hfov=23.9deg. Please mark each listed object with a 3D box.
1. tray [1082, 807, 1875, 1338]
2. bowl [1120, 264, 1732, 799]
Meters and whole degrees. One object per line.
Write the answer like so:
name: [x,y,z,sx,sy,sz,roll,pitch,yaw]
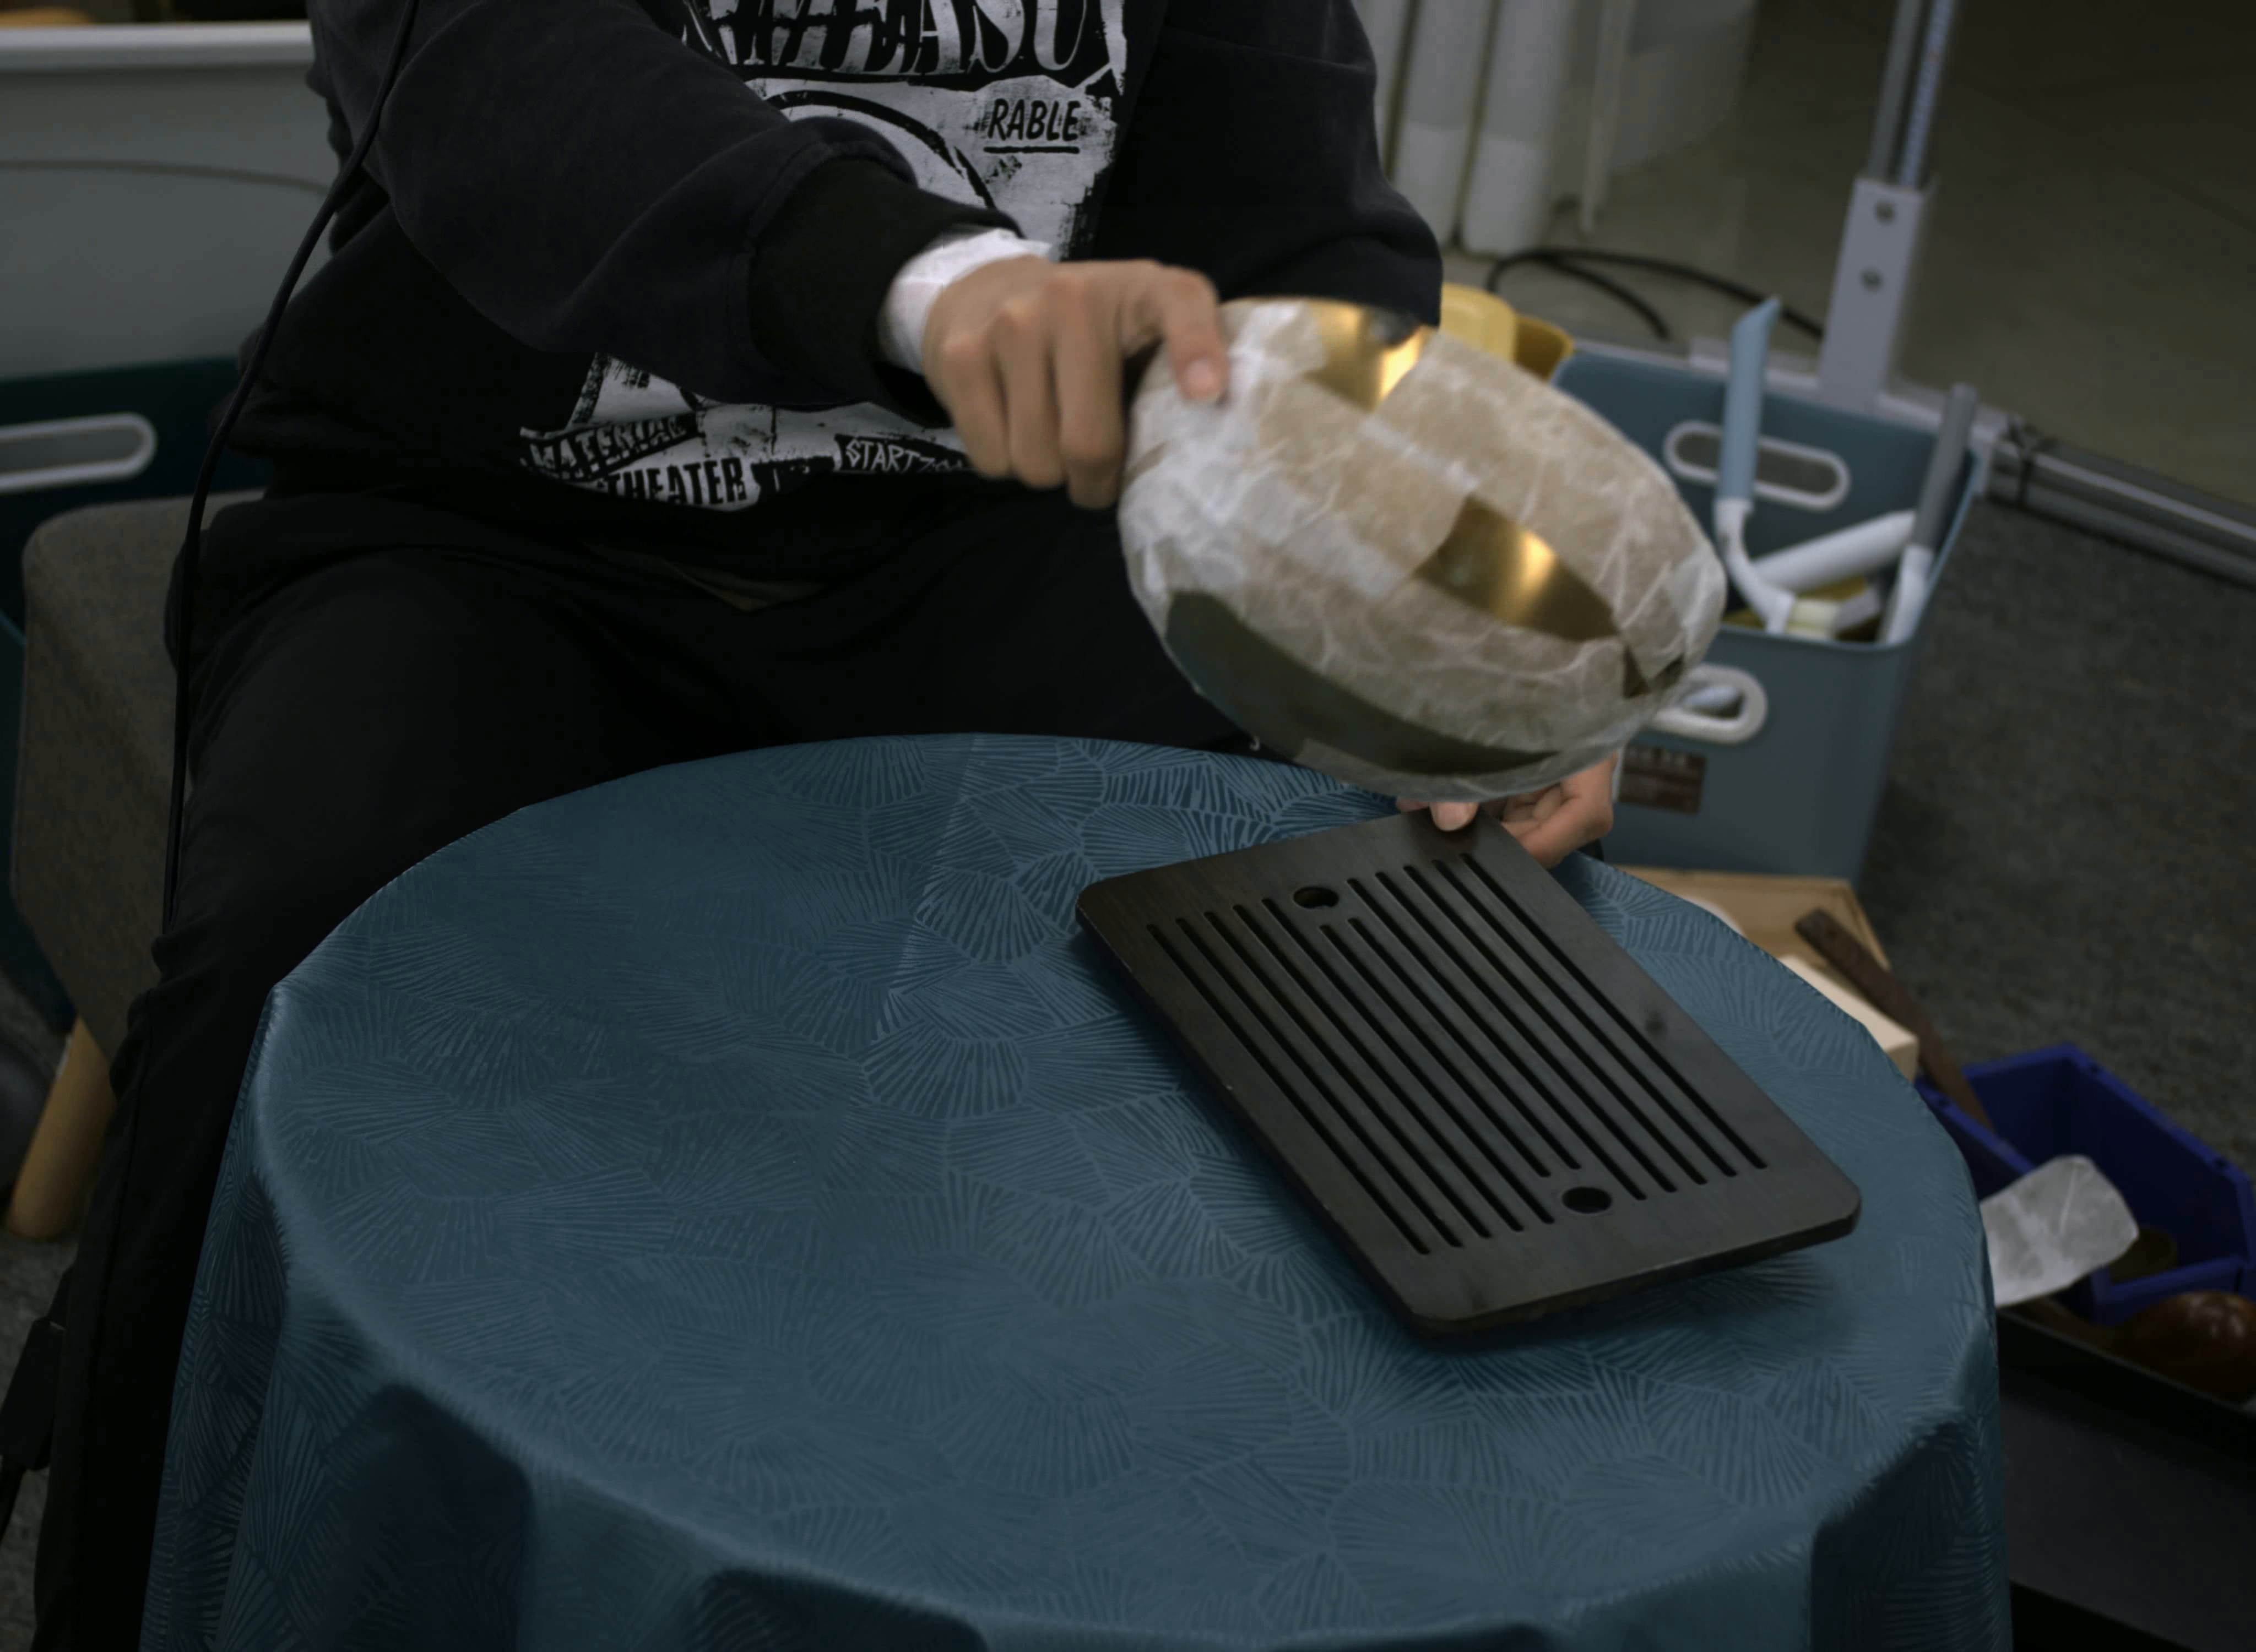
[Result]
tray: [0.116,0.083,1.867,0.169,0.018,0.309,-13,31,-19]
bowl: [0.078,-0.072,1.674,0.215,0.213,0.095,18,63,21]
